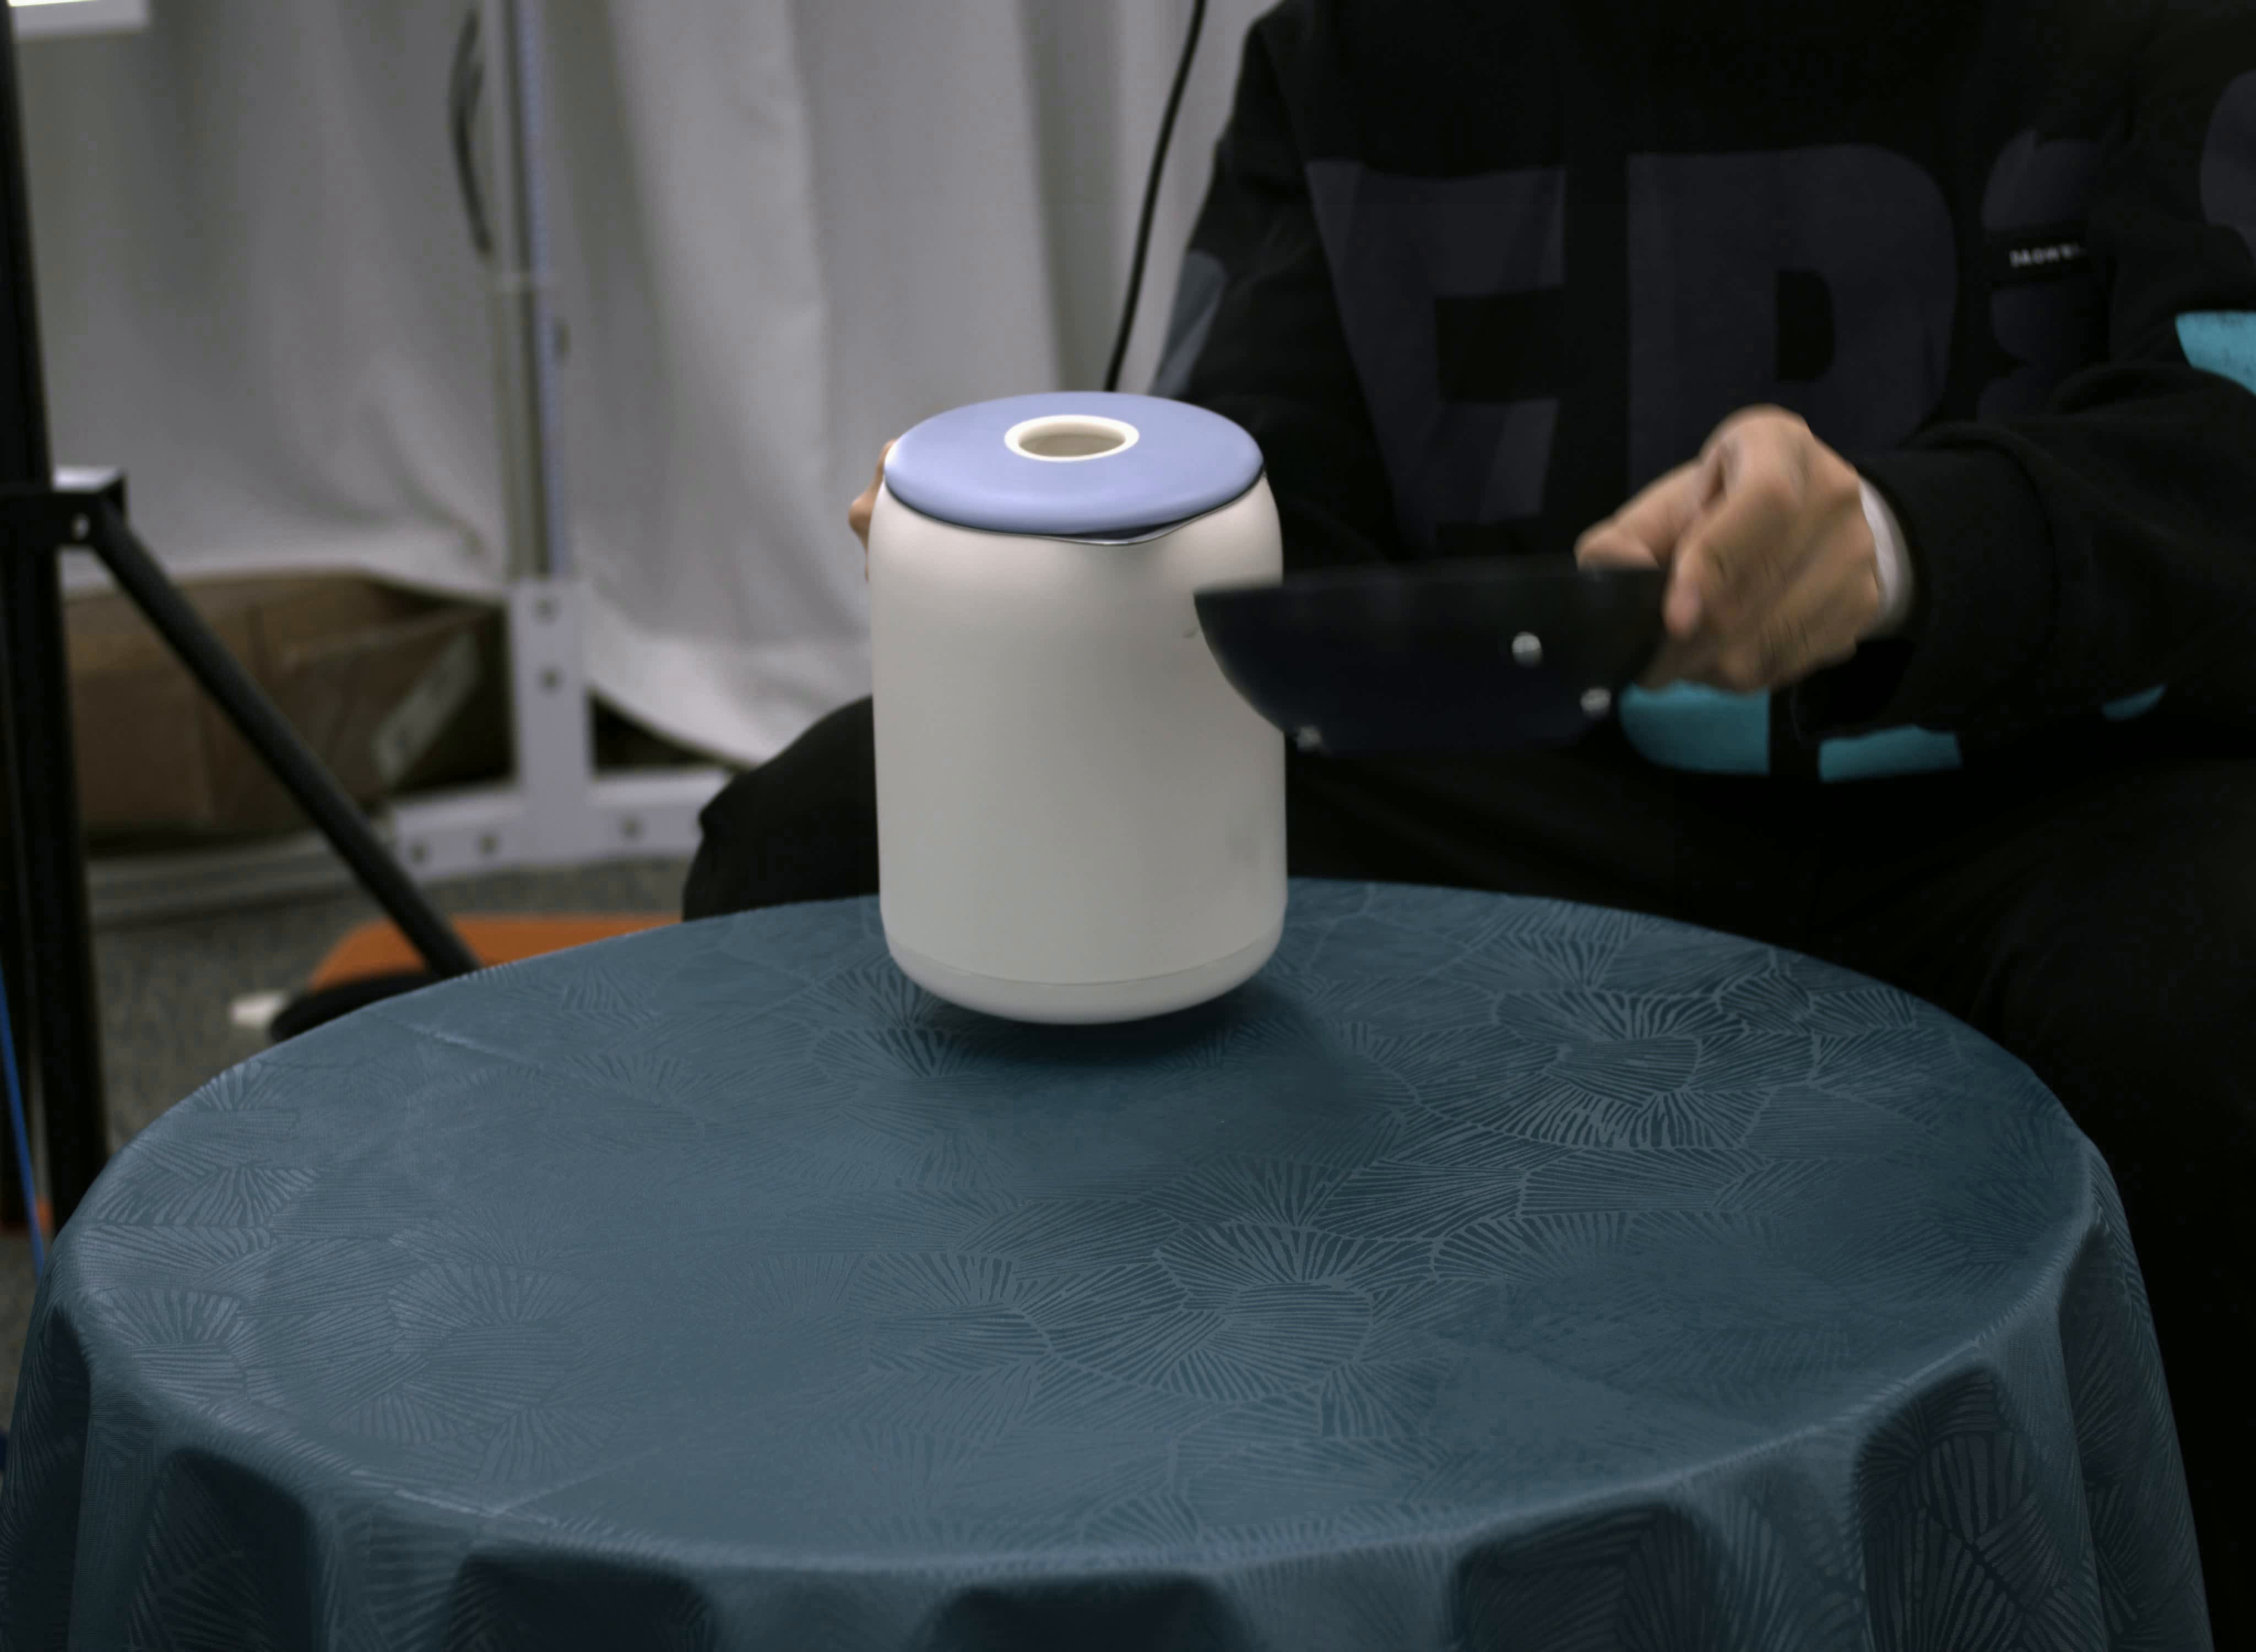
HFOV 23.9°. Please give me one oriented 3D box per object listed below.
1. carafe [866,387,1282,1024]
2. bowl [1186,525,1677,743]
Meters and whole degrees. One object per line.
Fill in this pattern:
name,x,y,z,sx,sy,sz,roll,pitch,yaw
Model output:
carafe,-0.024,-0.047,1.713,0.130,0.182,0.194,-7,21,-15
bowl,0.087,-0.051,1.495,0.139,0.050,0.140,-2,-5,-2
